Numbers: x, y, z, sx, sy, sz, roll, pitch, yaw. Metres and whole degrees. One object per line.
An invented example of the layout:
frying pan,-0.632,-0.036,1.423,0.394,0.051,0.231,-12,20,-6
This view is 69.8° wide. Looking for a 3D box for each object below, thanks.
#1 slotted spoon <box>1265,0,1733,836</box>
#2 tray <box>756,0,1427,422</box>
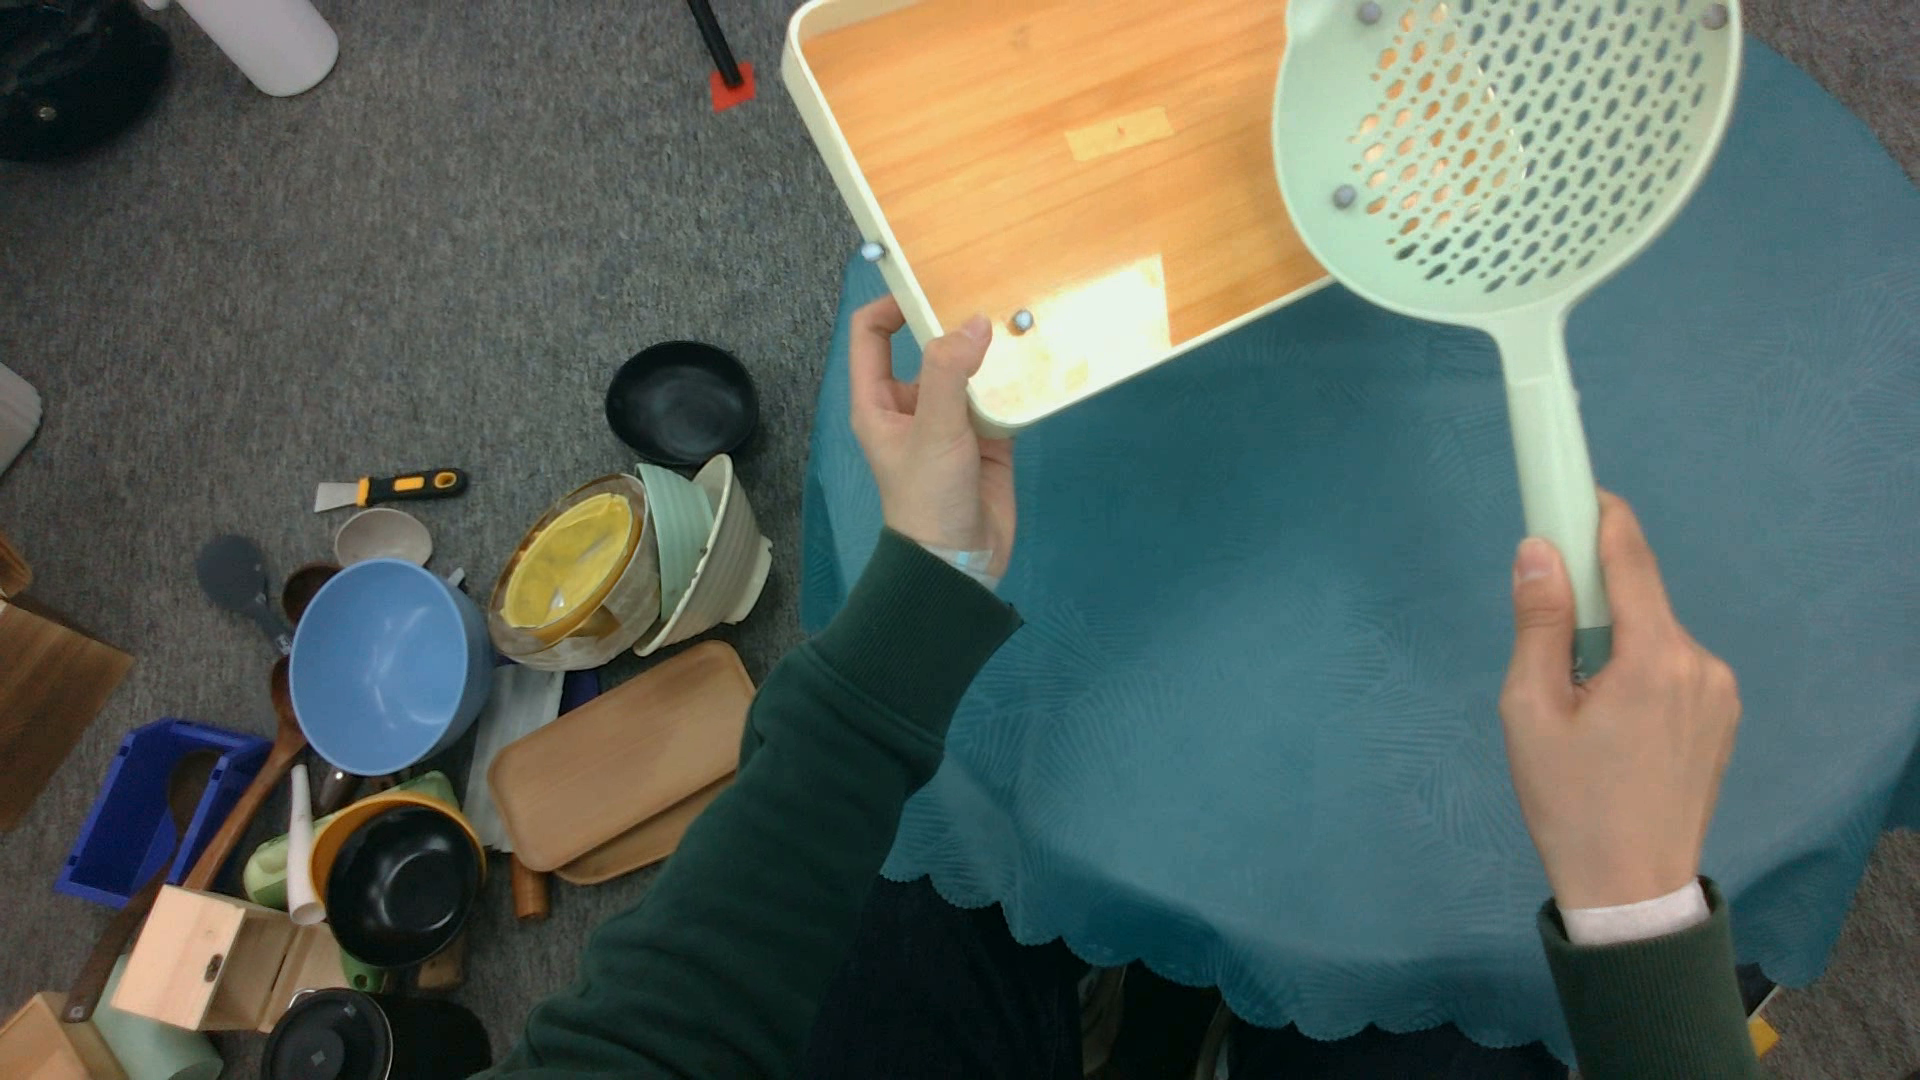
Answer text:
slotted spoon,0.205,-0.076,0.498,0.169,0.075,0.359,-12,74,43
tray,0.081,-0.190,0.602,0.301,0.027,0.191,-27,87,-20
